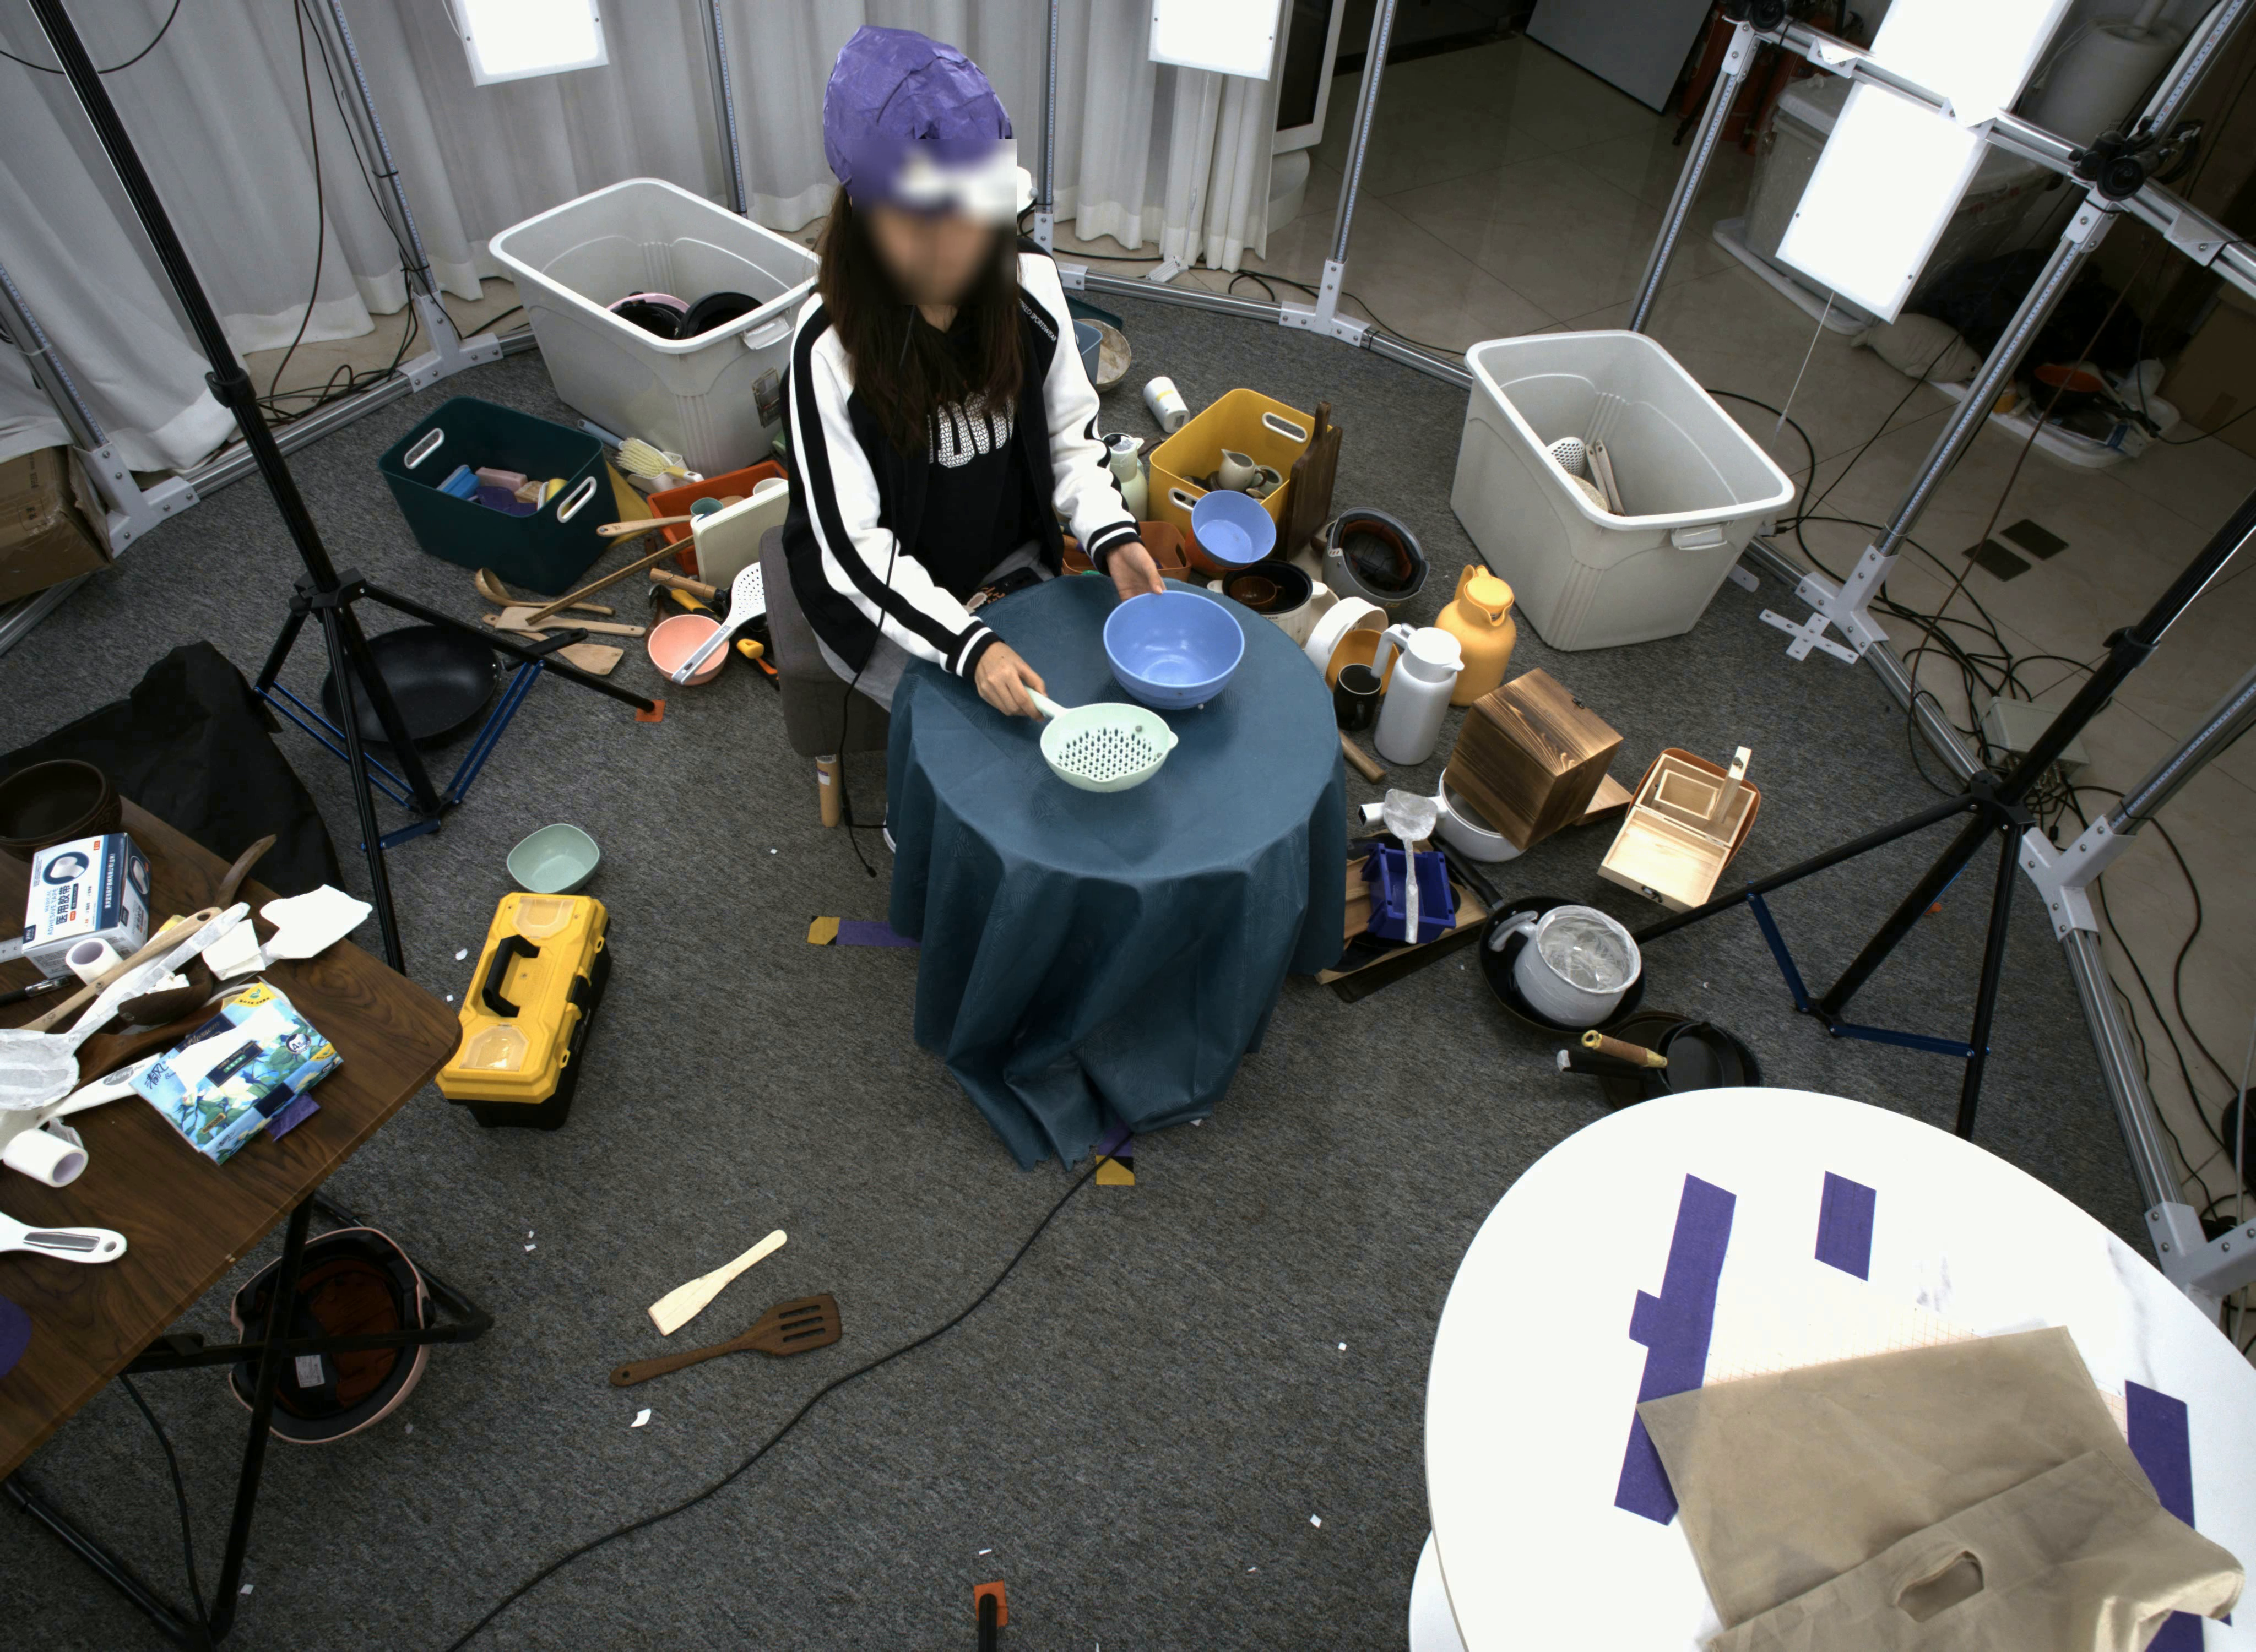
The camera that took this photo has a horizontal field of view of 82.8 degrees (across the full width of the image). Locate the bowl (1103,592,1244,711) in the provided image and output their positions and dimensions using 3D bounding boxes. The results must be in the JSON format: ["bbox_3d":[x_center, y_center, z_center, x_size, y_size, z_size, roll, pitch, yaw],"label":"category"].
[{"bbox_3d":[0.061,-0.232,1.815,0.196,0.093,0.201,1,49,-2],"label":"bowl"}]

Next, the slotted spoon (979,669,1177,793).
[{"bbox_3d":[-0.093,-0.145,1.724,0.170,0.073,0.365,-28,51,-30],"label":"slotted spoon"}]
